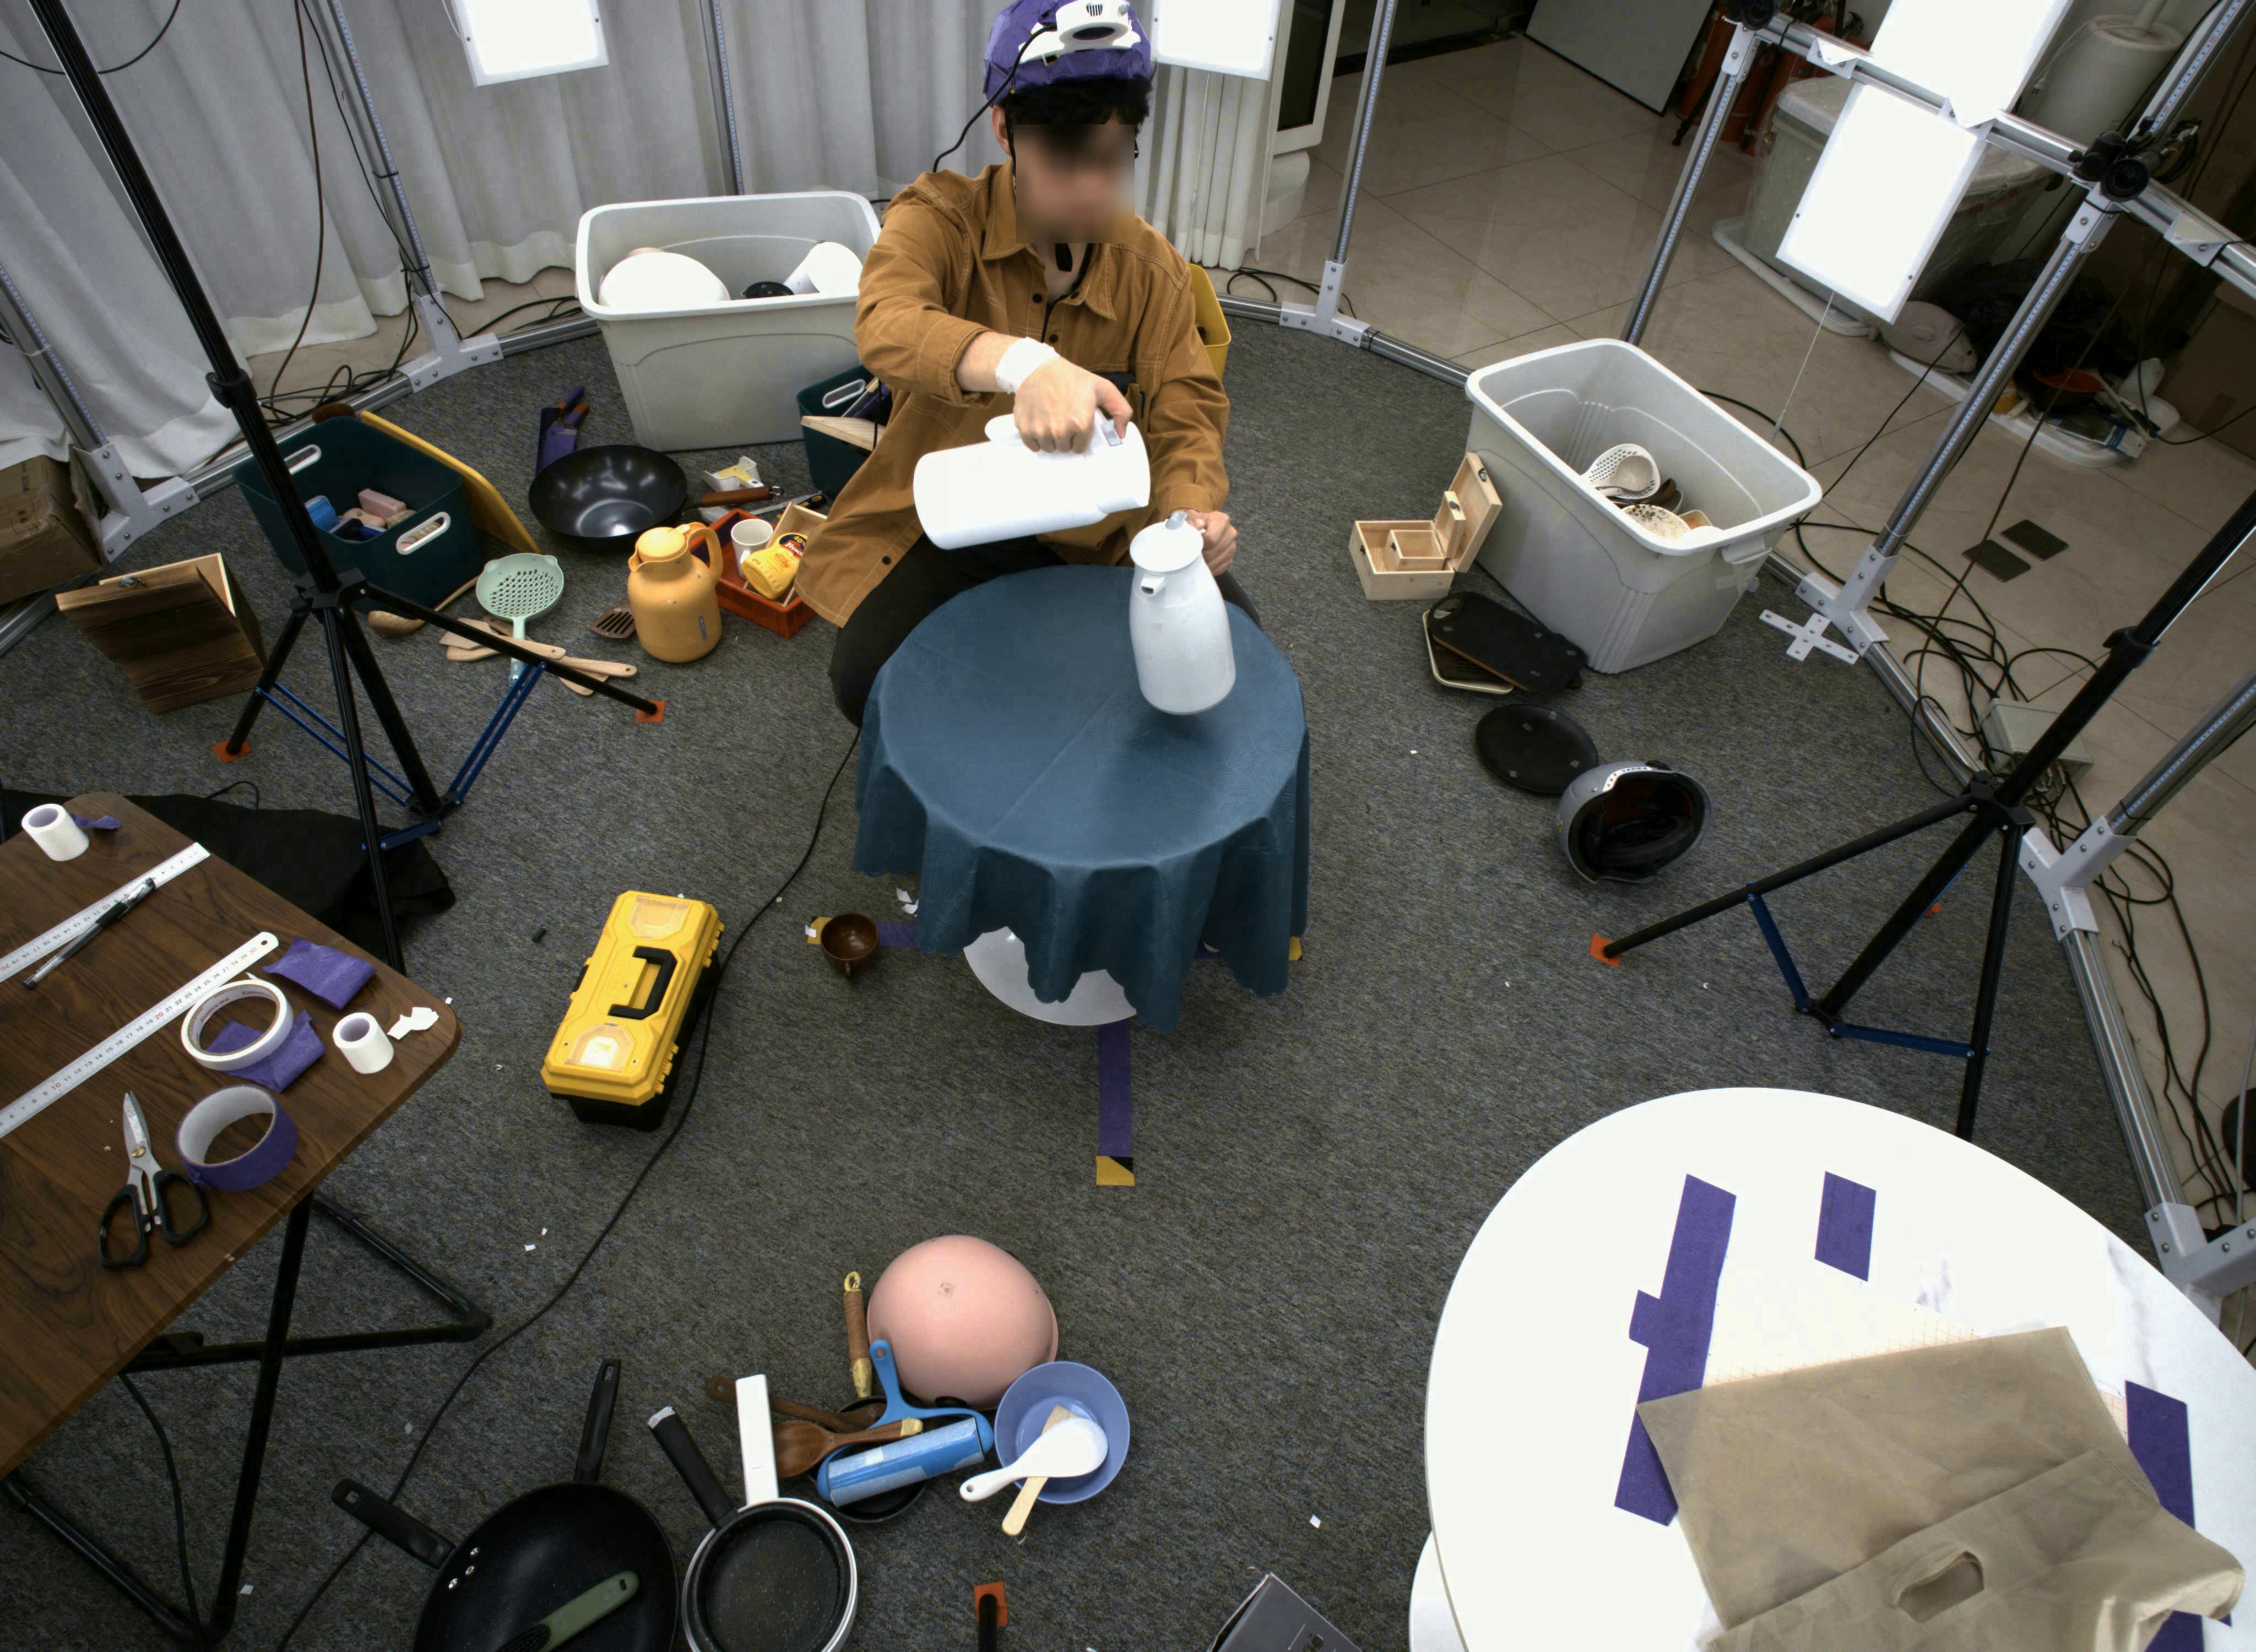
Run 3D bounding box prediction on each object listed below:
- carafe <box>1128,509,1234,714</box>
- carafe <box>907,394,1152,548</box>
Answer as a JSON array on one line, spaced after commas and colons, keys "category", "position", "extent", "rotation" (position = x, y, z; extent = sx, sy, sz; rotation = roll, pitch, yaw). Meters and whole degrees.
[{"category": "carafe", "position": [0.069, -0.290, 1.668], "extent": [0.133, 0.242, 0.171], "rotation": [15, 55, 21]}, {"category": "carafe", "position": [-0.123, -0.411, 1.502], "extent": [0.269, 0.169, 0.126], "rotation": [-4, 62, 21]}]
